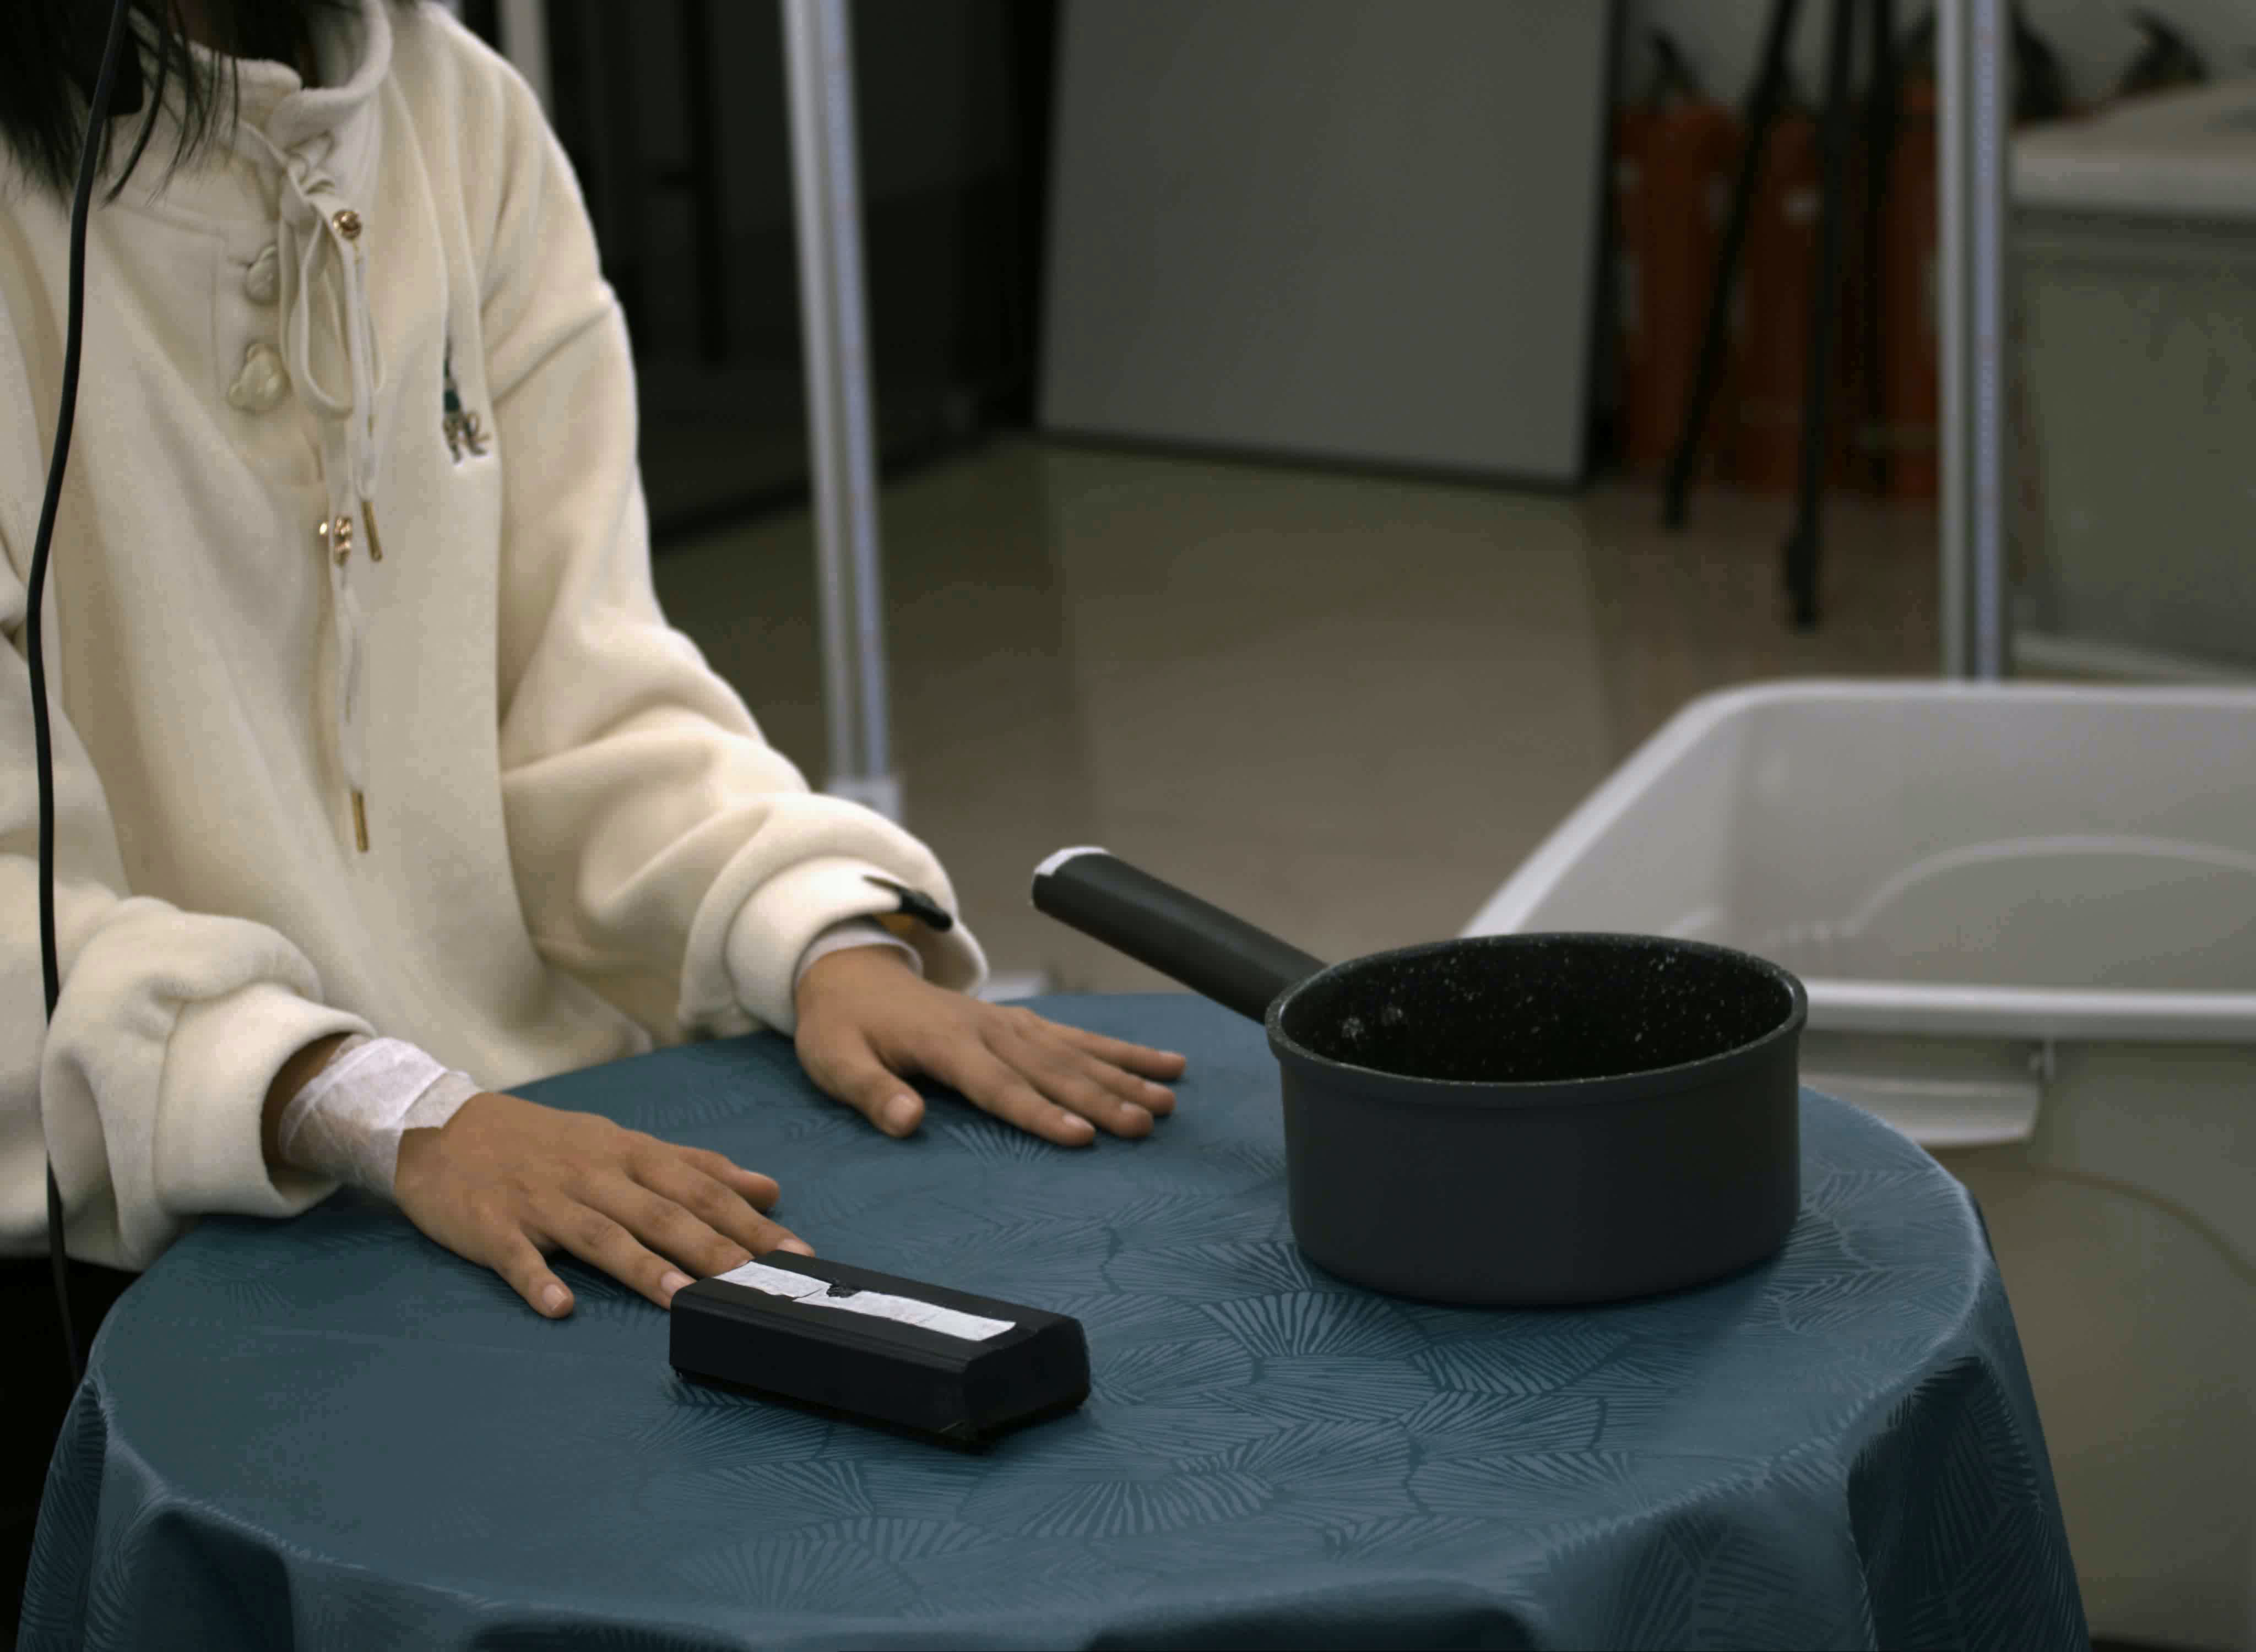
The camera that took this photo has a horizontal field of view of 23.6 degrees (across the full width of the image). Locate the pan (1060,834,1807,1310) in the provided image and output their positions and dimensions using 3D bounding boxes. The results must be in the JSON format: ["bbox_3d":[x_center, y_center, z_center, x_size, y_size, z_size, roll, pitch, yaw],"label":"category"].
[{"bbox_3d":[0.083,0.075,1.756,0.168,0.087,0.332,-13,18,-34],"label":"pan"}]

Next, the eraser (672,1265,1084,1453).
[{"bbox_3d":[-0.073,0.156,1.594,0.126,0.031,0.052,7,16,43],"label":"eraser"}]
